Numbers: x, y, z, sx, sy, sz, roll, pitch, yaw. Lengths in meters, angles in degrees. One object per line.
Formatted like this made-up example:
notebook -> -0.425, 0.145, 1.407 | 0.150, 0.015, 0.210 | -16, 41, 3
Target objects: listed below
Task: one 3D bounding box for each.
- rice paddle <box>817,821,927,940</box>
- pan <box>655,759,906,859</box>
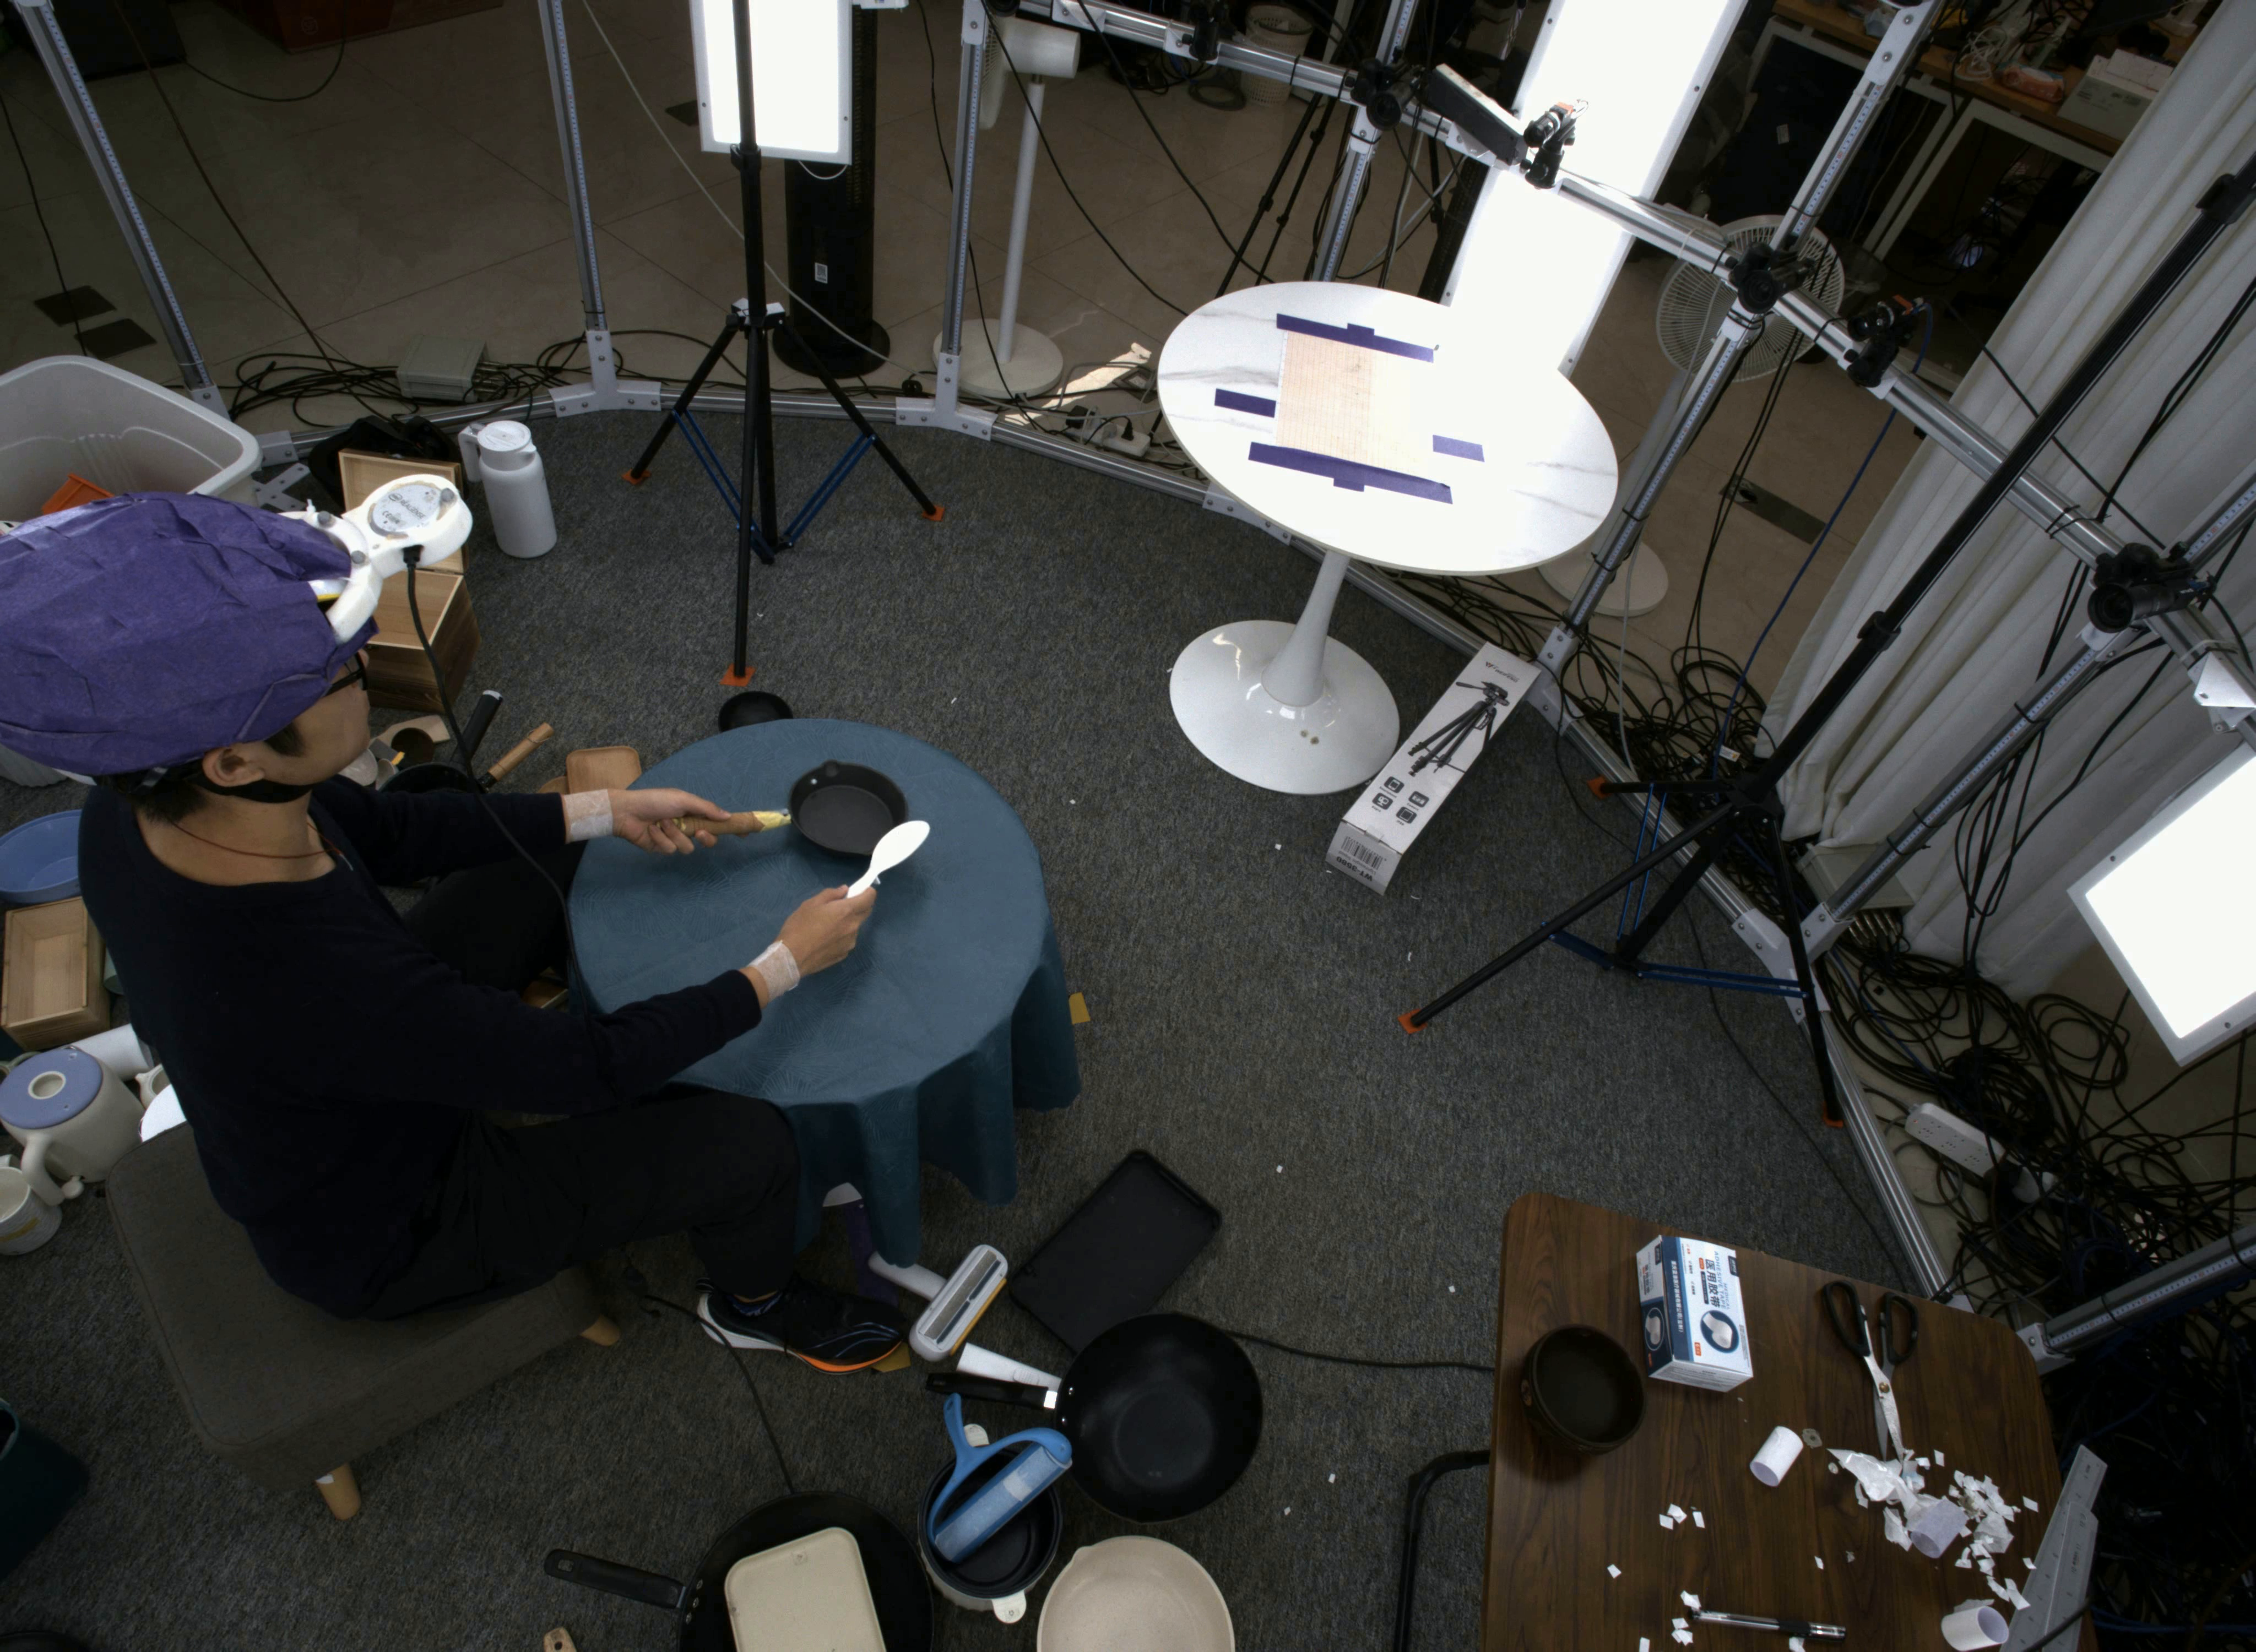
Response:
rice paddle -> -0.317, 0.057, 1.616 | 0.066, 0.030, 0.204 | 8, 45, 29
pan -> -0.444, -0.012, 1.663 | 0.328, 0.050, 0.164 | -7, 54, -30
